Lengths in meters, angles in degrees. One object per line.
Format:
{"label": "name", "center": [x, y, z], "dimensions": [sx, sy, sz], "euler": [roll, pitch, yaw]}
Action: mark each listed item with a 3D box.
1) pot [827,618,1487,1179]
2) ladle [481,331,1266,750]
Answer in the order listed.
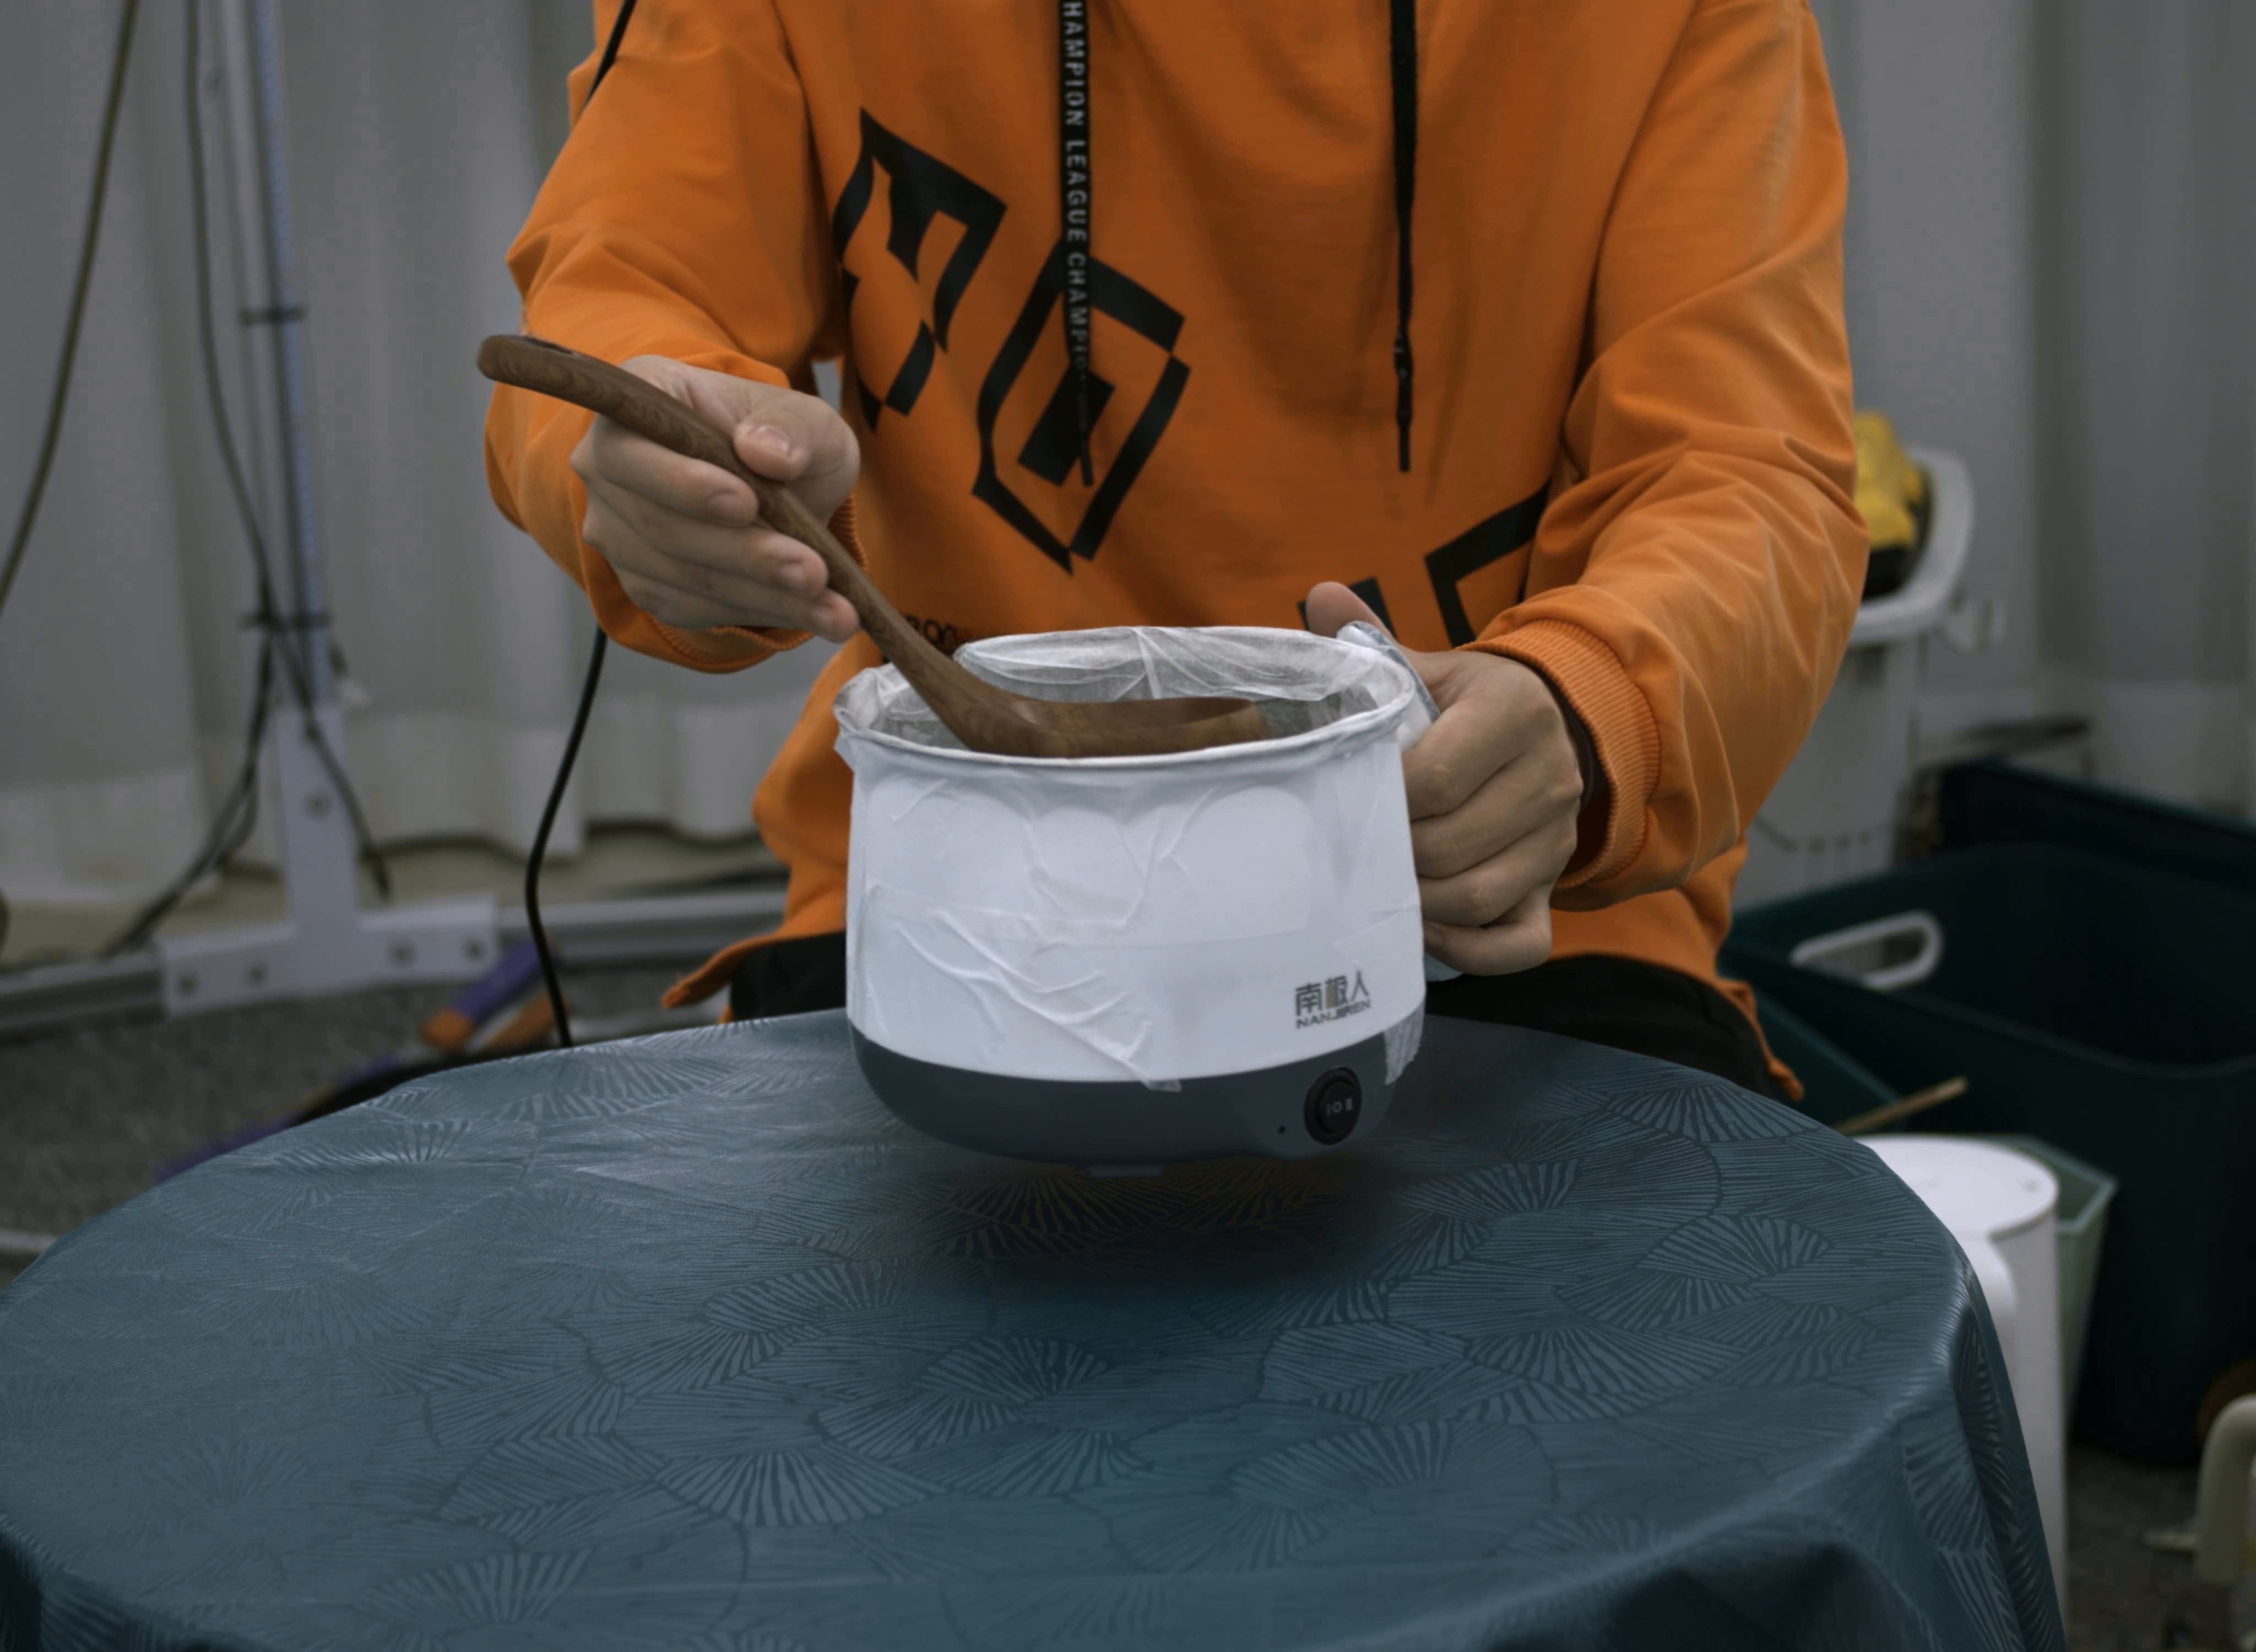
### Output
{"label": "pot", "center": [0.020, 0.015, 1.683], "dimensions": [0.233, 0.136, 0.180], "euler": [-15, 20, -41]}
{"label": "ladle", "center": [-0.074, -0.085, 1.626], "dimensions": [0.260, 0.065, 0.076], "euler": [38, 7, 3]}
